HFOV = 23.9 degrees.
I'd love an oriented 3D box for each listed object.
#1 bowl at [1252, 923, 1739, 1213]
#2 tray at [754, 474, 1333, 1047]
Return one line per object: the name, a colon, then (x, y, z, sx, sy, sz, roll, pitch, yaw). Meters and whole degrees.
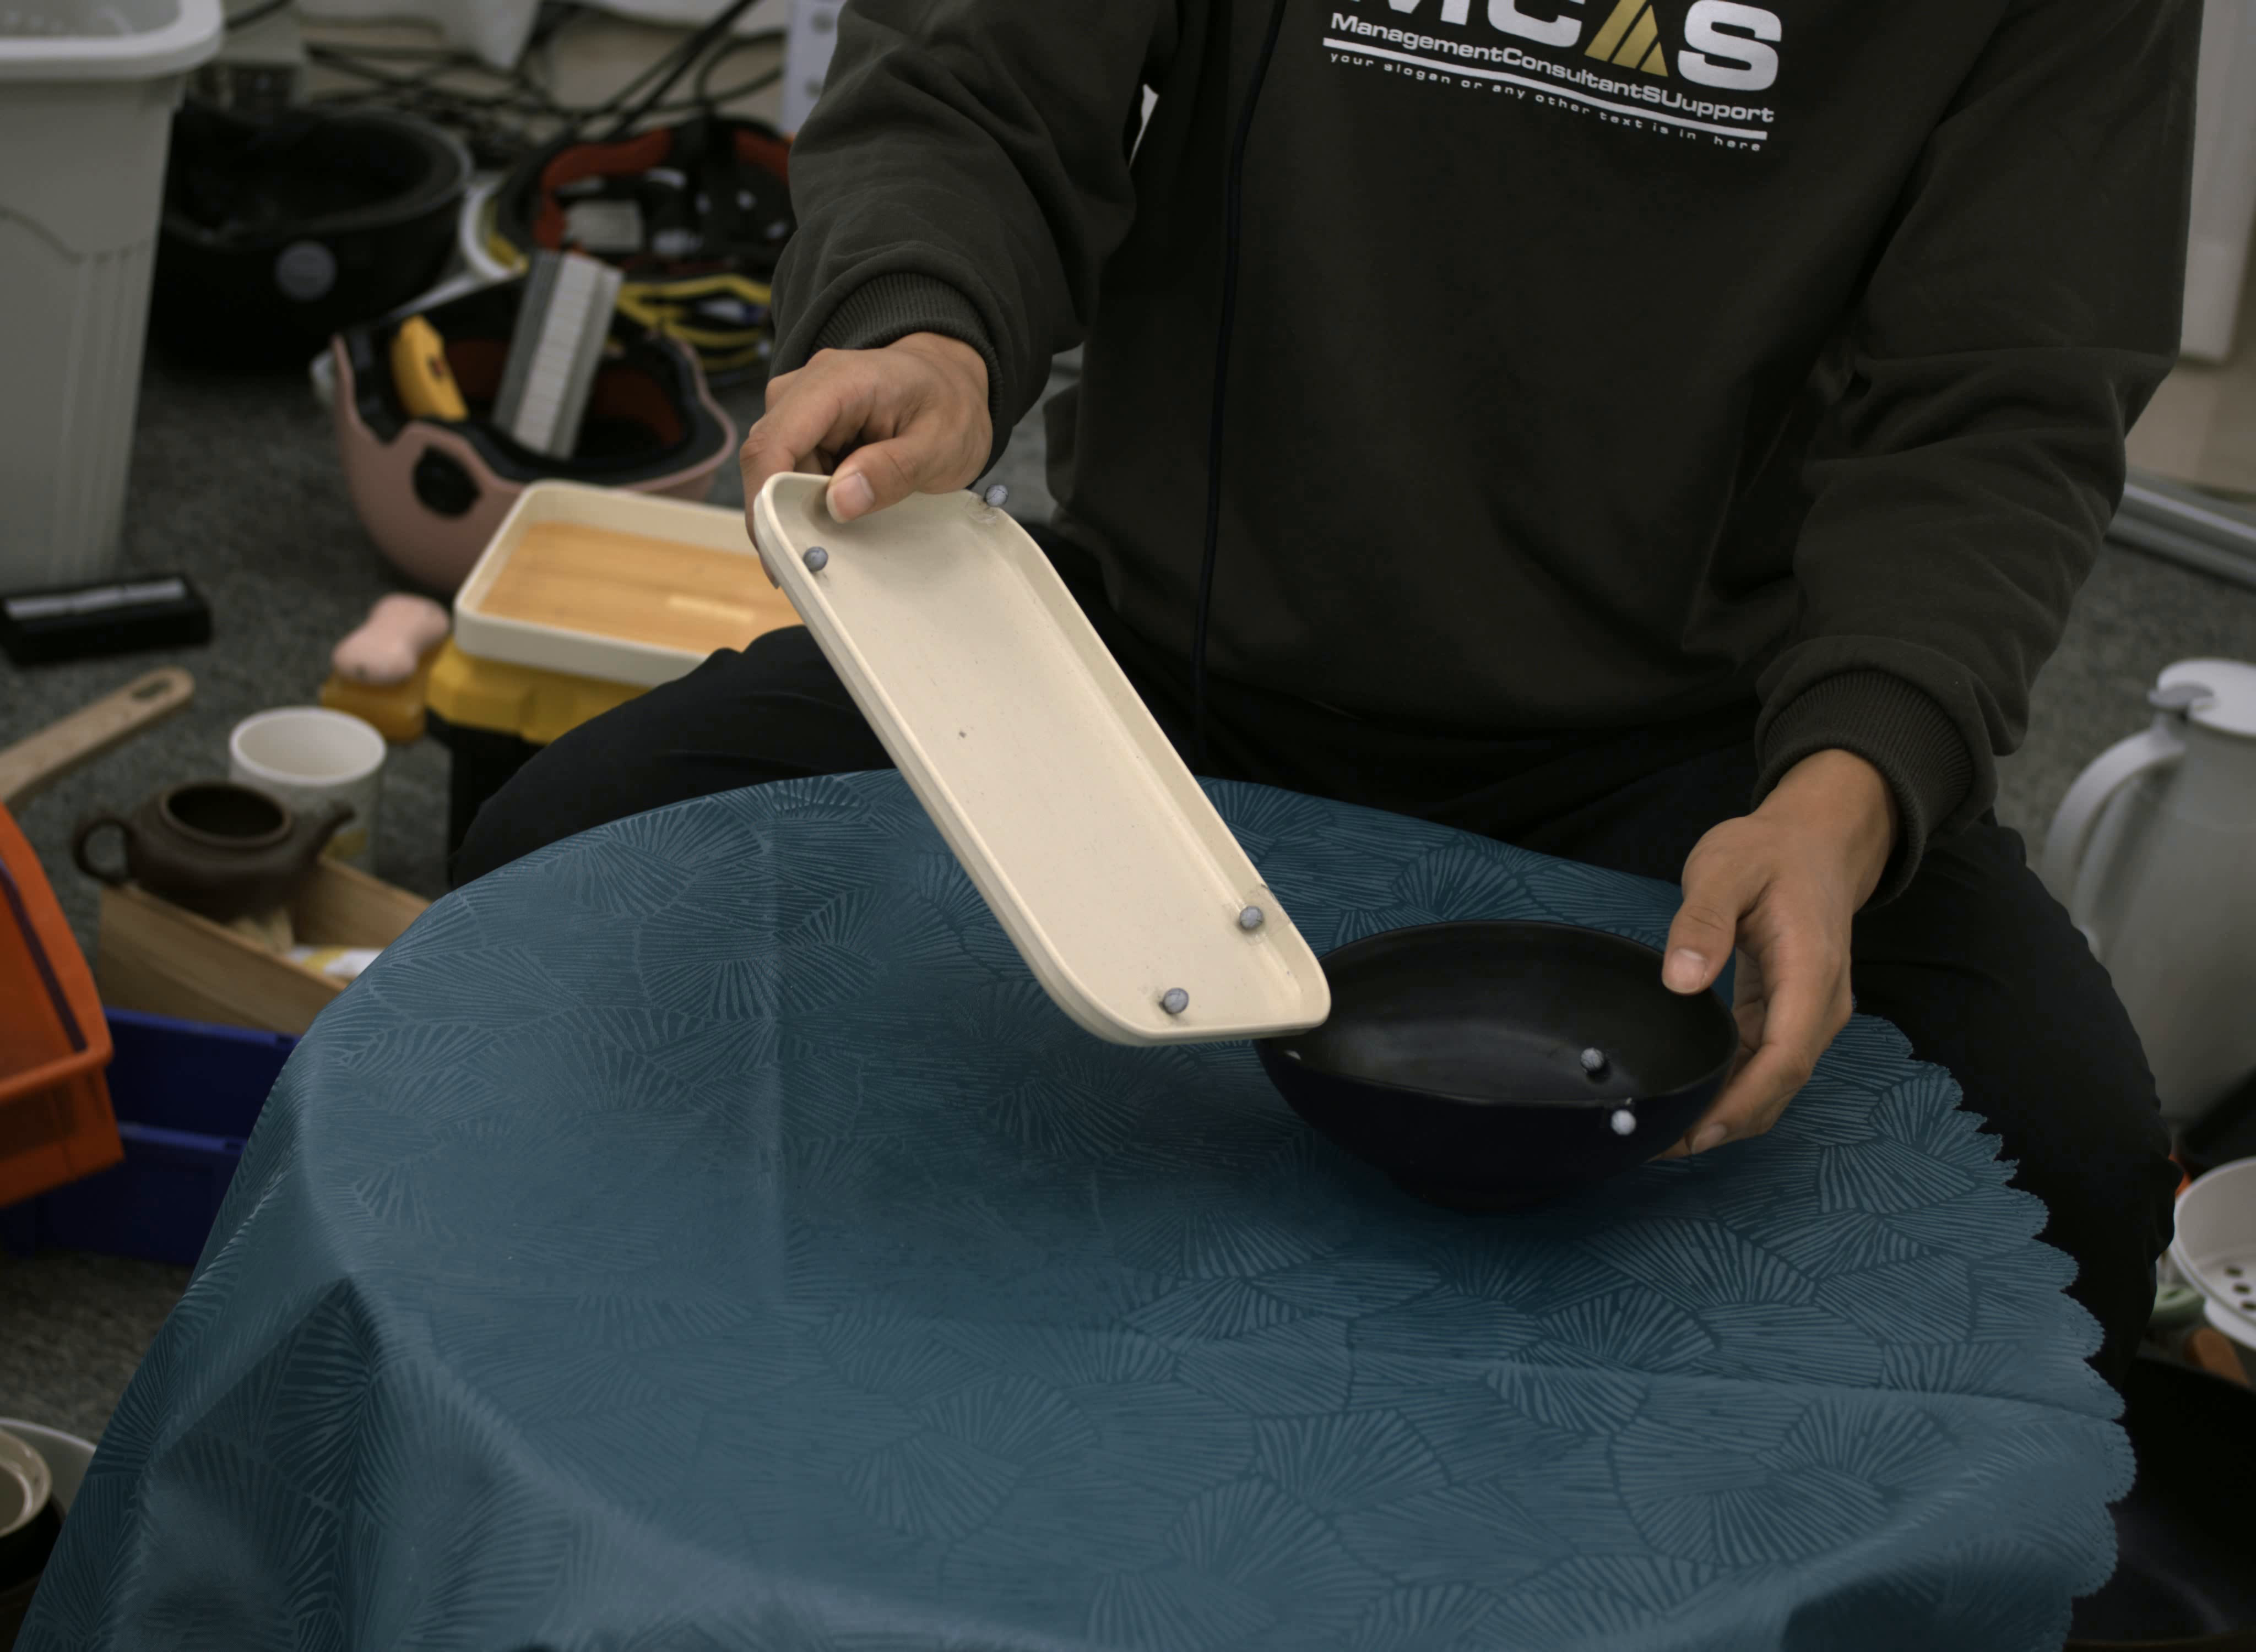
bowl: (0.124, 0.090, 1.827, 0.170, 0.066, 0.137, 5, 25, 16)
tray: (-0.030, -0.022, 1.820, 0.241, 0.017, 0.170, 56, 26, 19)
